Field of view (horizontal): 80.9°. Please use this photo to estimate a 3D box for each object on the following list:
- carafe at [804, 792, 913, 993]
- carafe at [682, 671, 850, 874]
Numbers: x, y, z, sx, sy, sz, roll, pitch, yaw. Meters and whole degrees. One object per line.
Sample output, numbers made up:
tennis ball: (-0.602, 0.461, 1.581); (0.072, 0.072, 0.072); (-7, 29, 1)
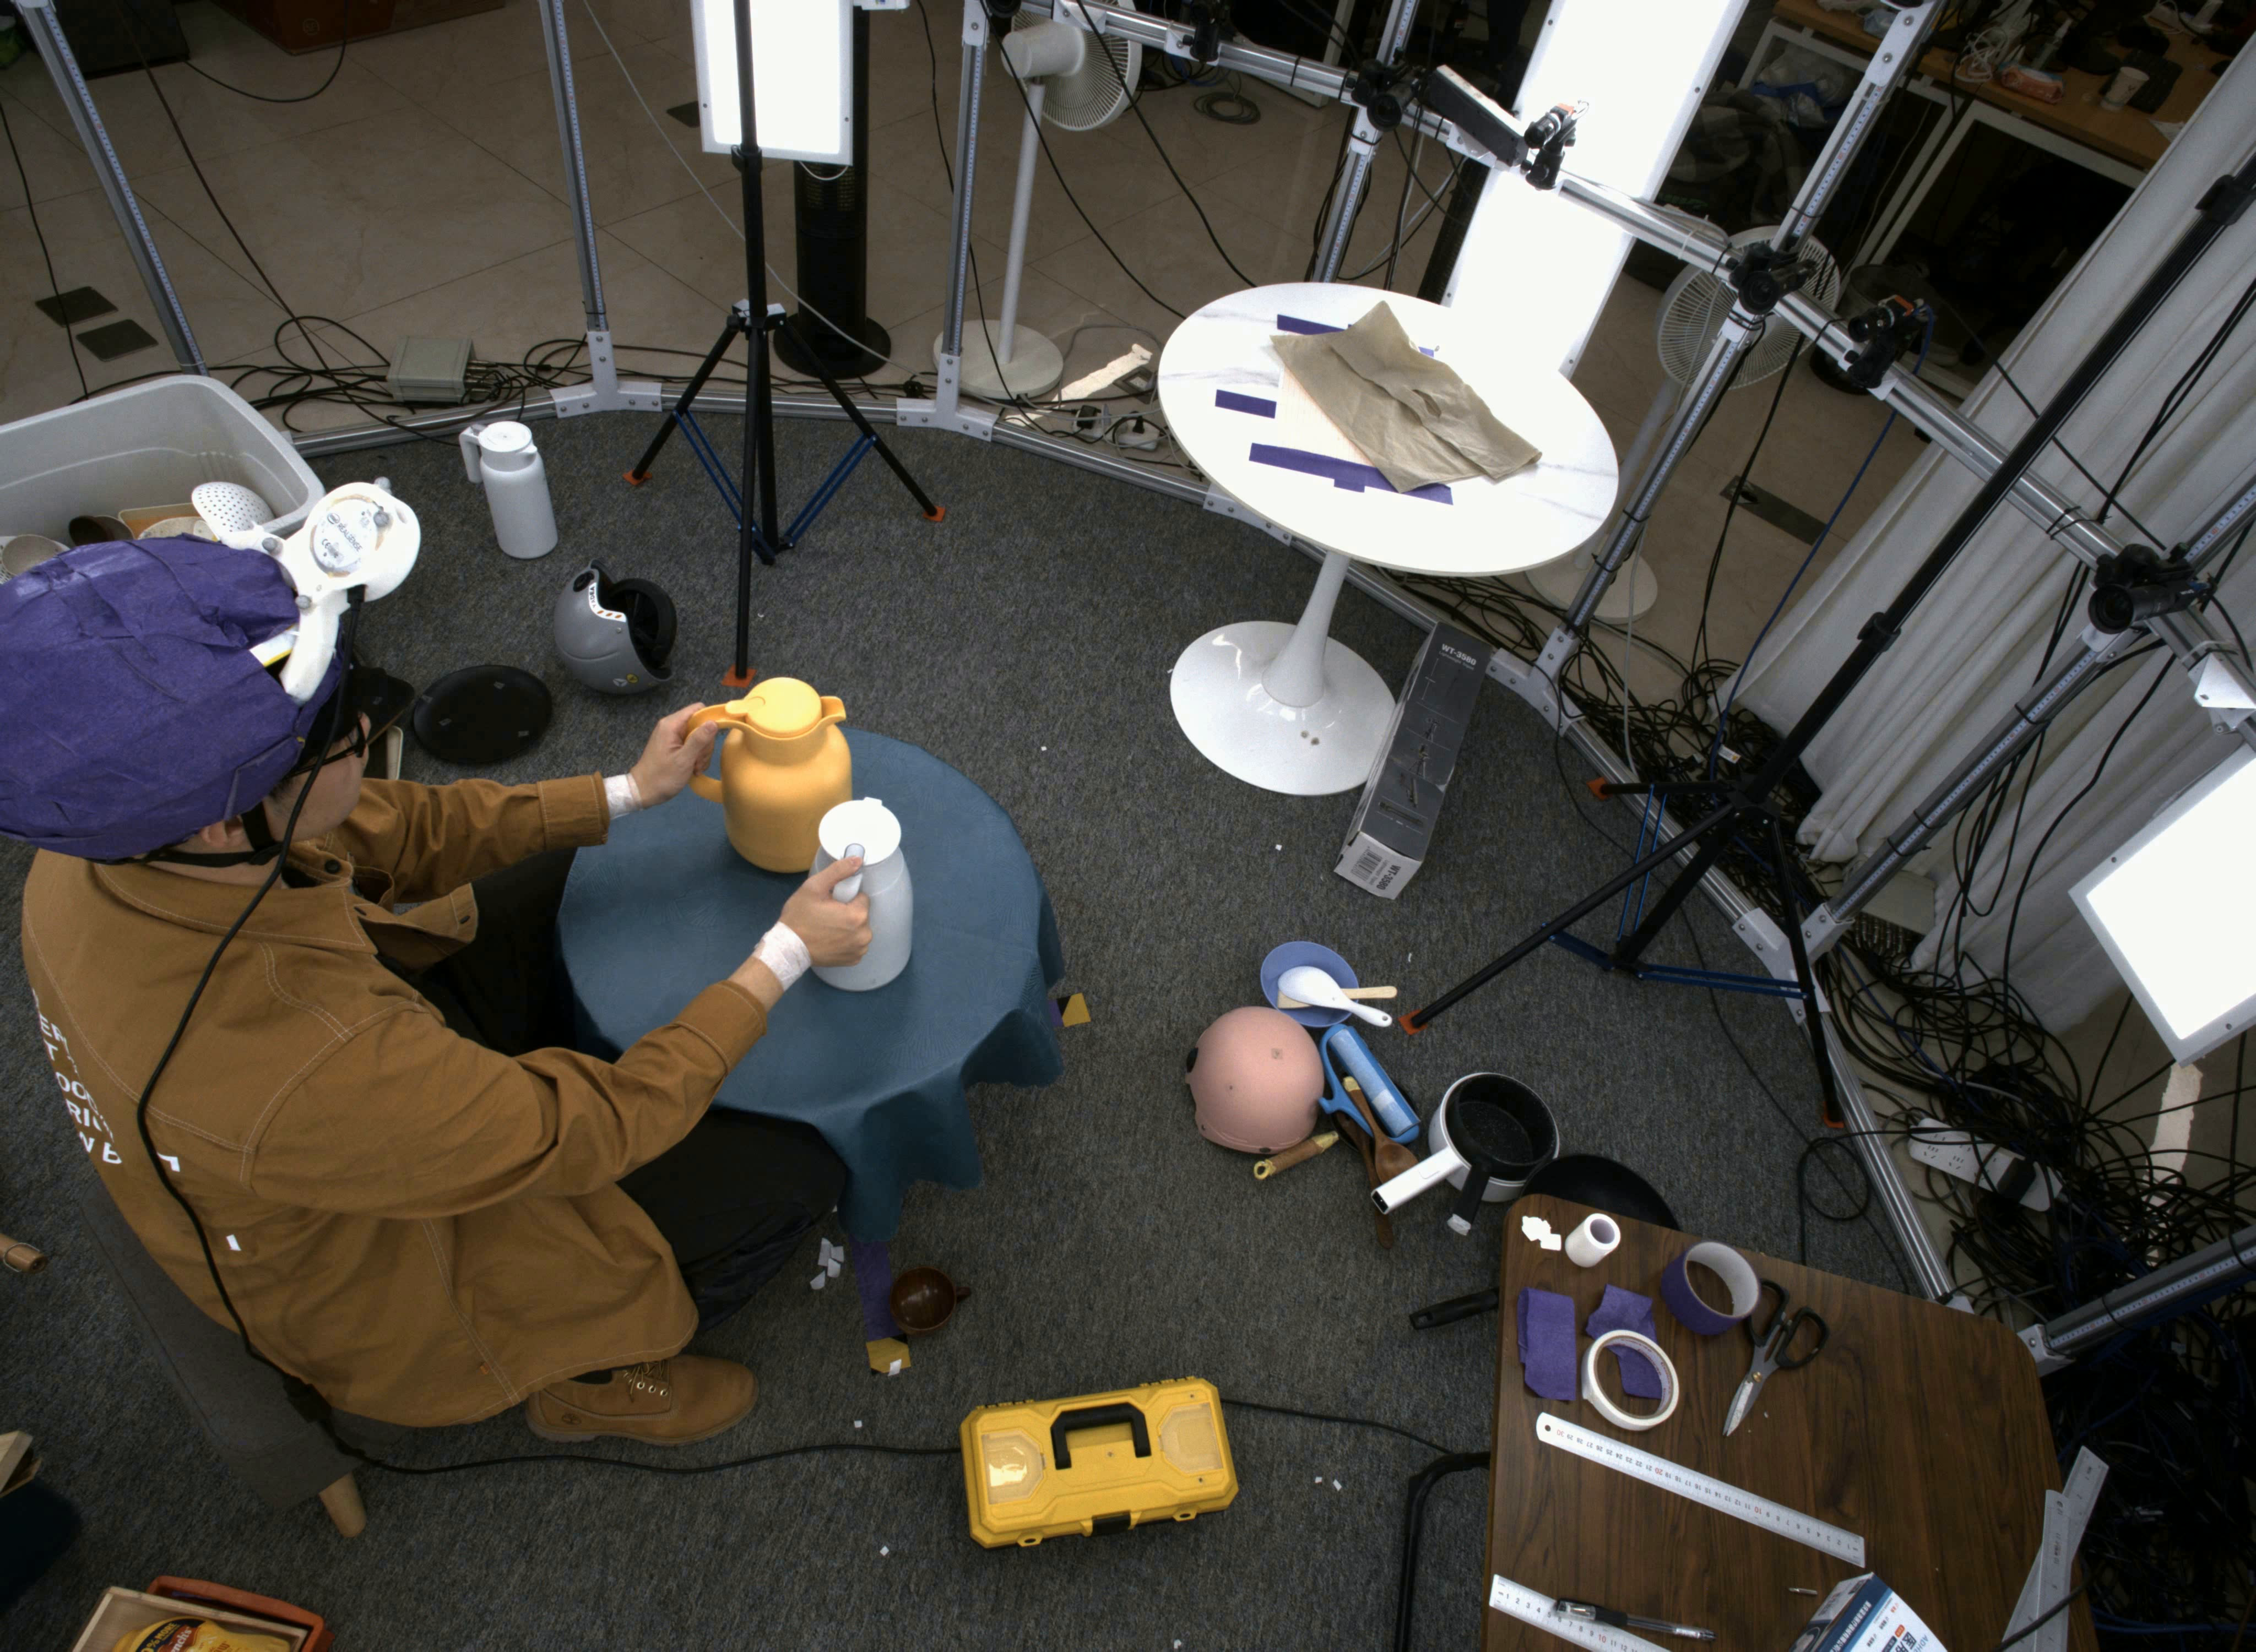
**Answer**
carafe: (-0.319, 0.088, 1.521); (0.132, 0.254, 0.165); (10, 51, -4)
carafe: (-0.446, -0.073, 1.602); (0.203, 0.266, 0.159); (-3, 51, -16)
